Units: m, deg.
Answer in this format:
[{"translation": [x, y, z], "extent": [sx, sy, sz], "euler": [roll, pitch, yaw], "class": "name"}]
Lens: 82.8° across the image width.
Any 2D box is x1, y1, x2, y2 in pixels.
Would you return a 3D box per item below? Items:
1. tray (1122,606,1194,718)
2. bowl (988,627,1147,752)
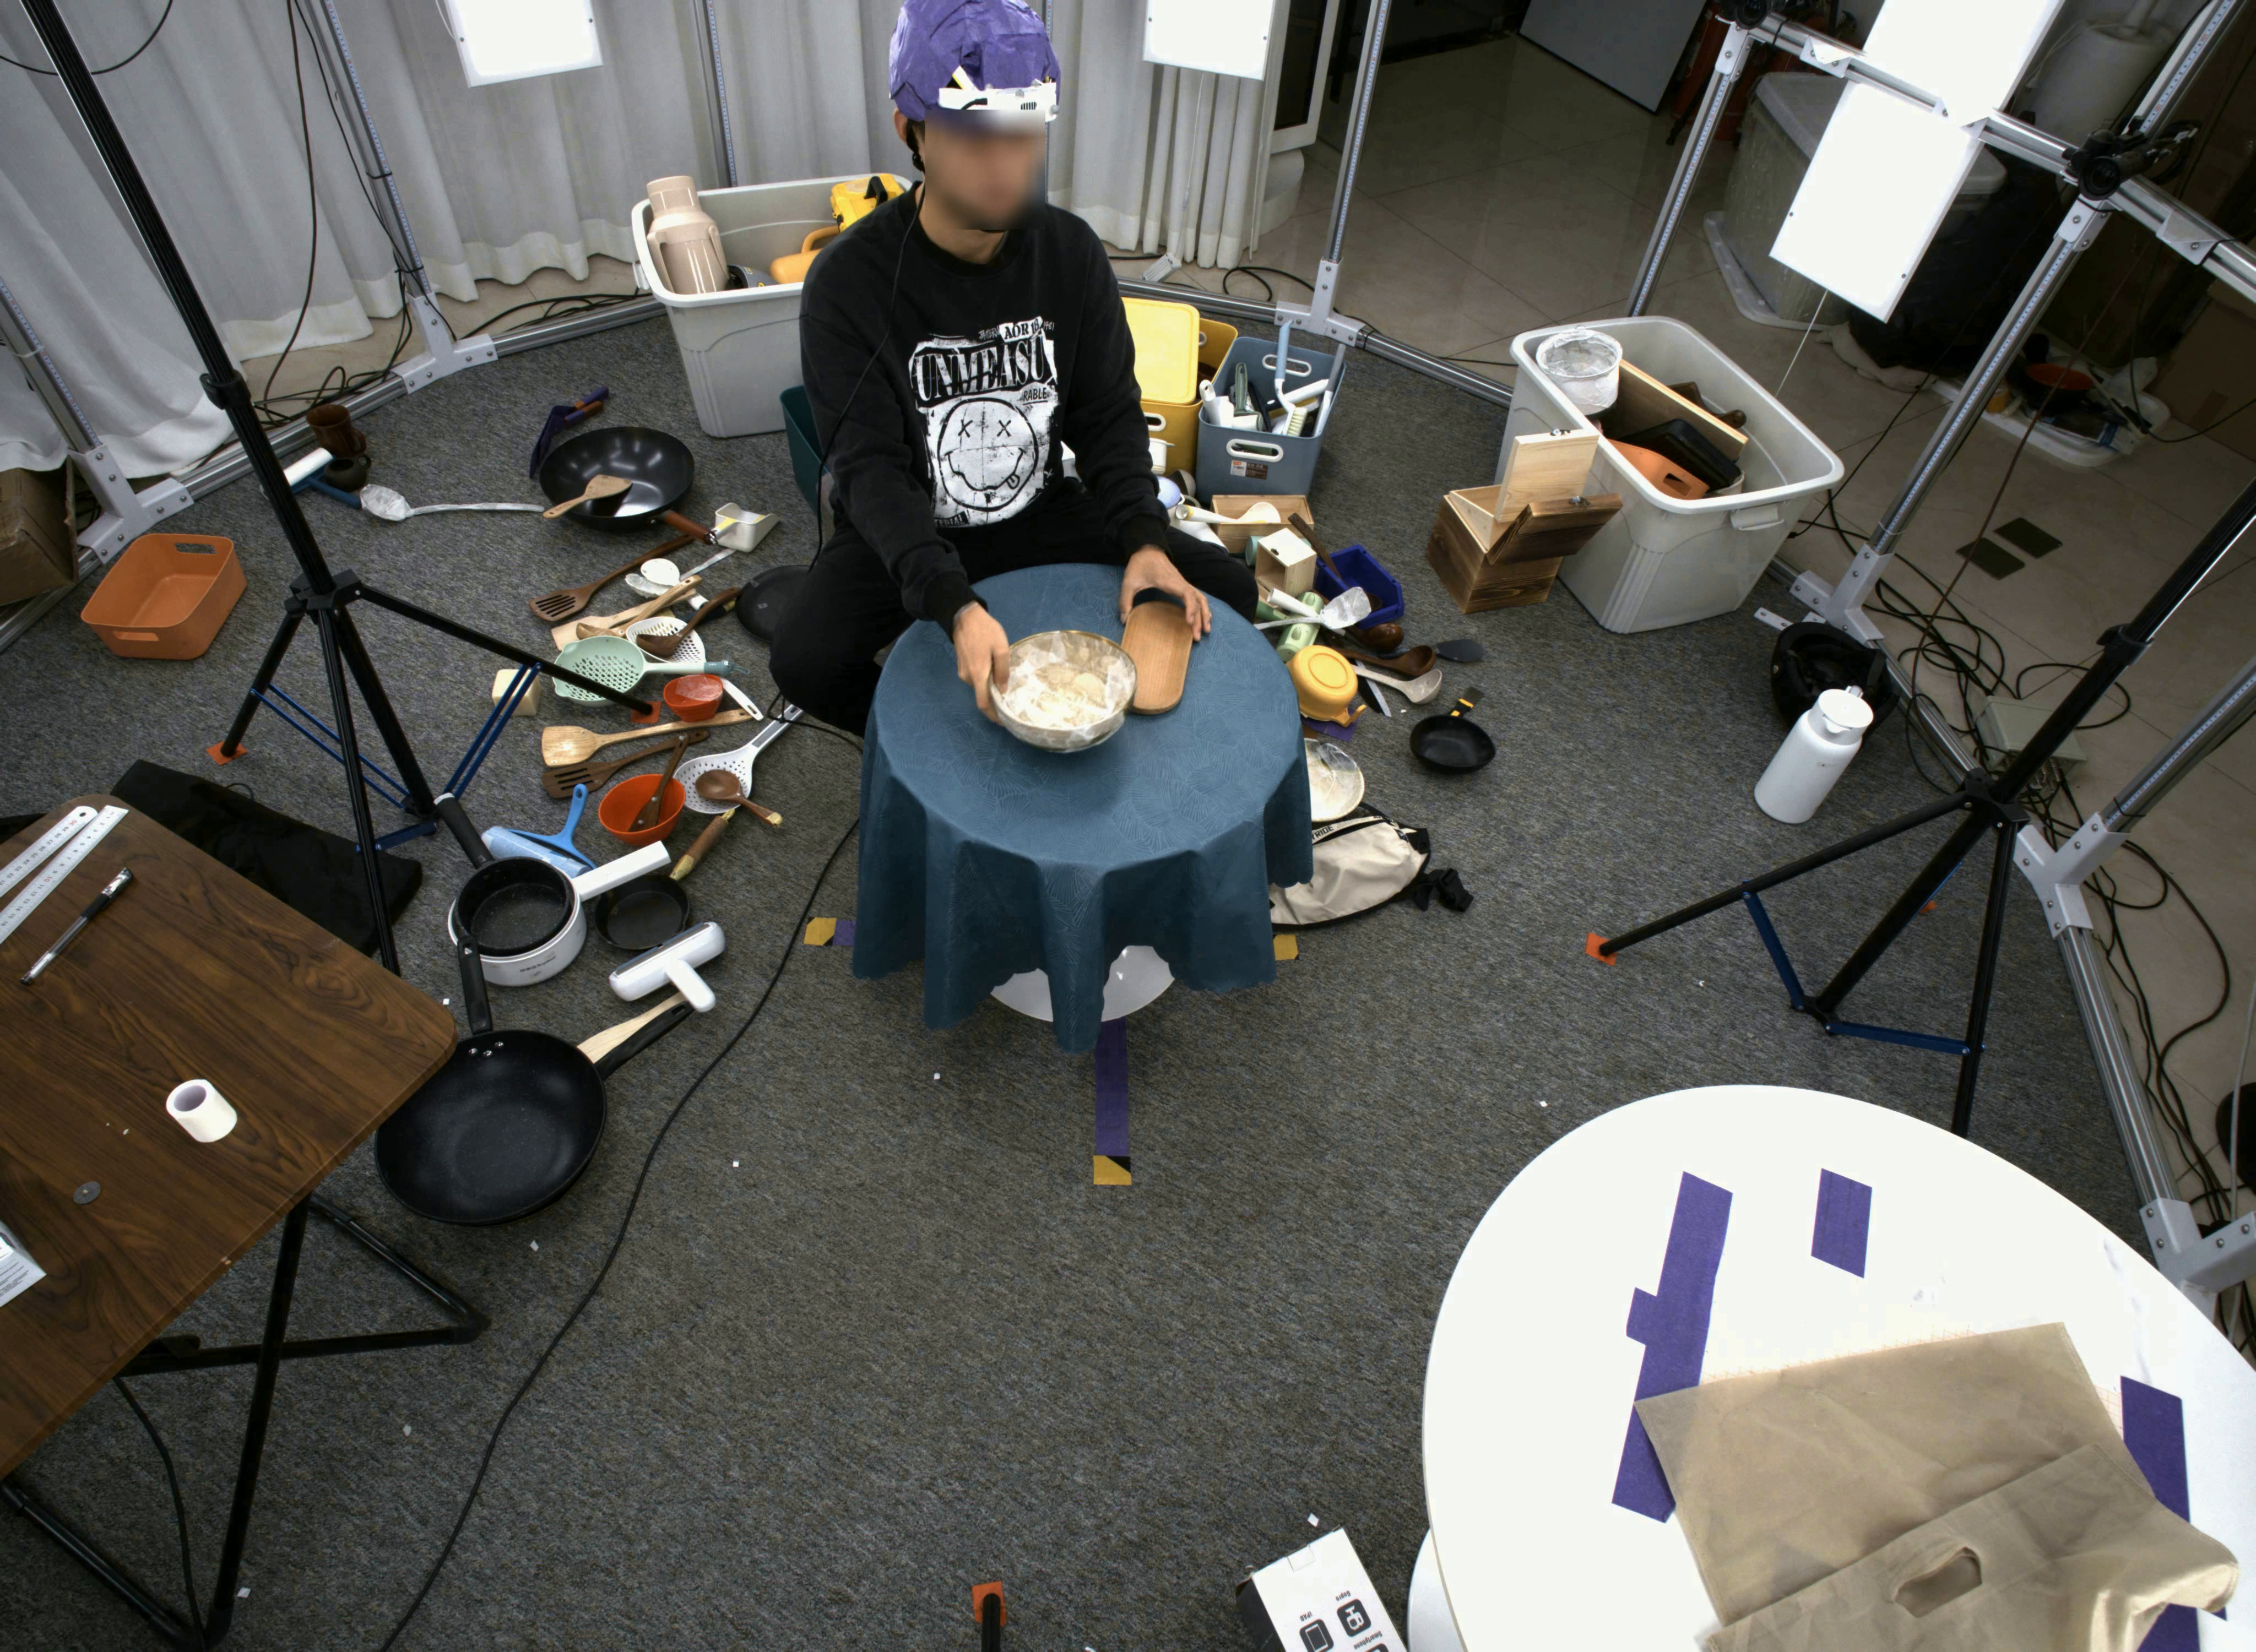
[{"translation": [0.040, -0.244, 1.889], "extent": [0.102, 0.020, 0.236], "euler": [8, 50, 3], "class": "tray"}, {"translation": [-0.081, -0.171, 1.753], "extent": [0.214, 0.092, 0.220], "euler": [-1, 46, 1], "class": "bowl"}]
